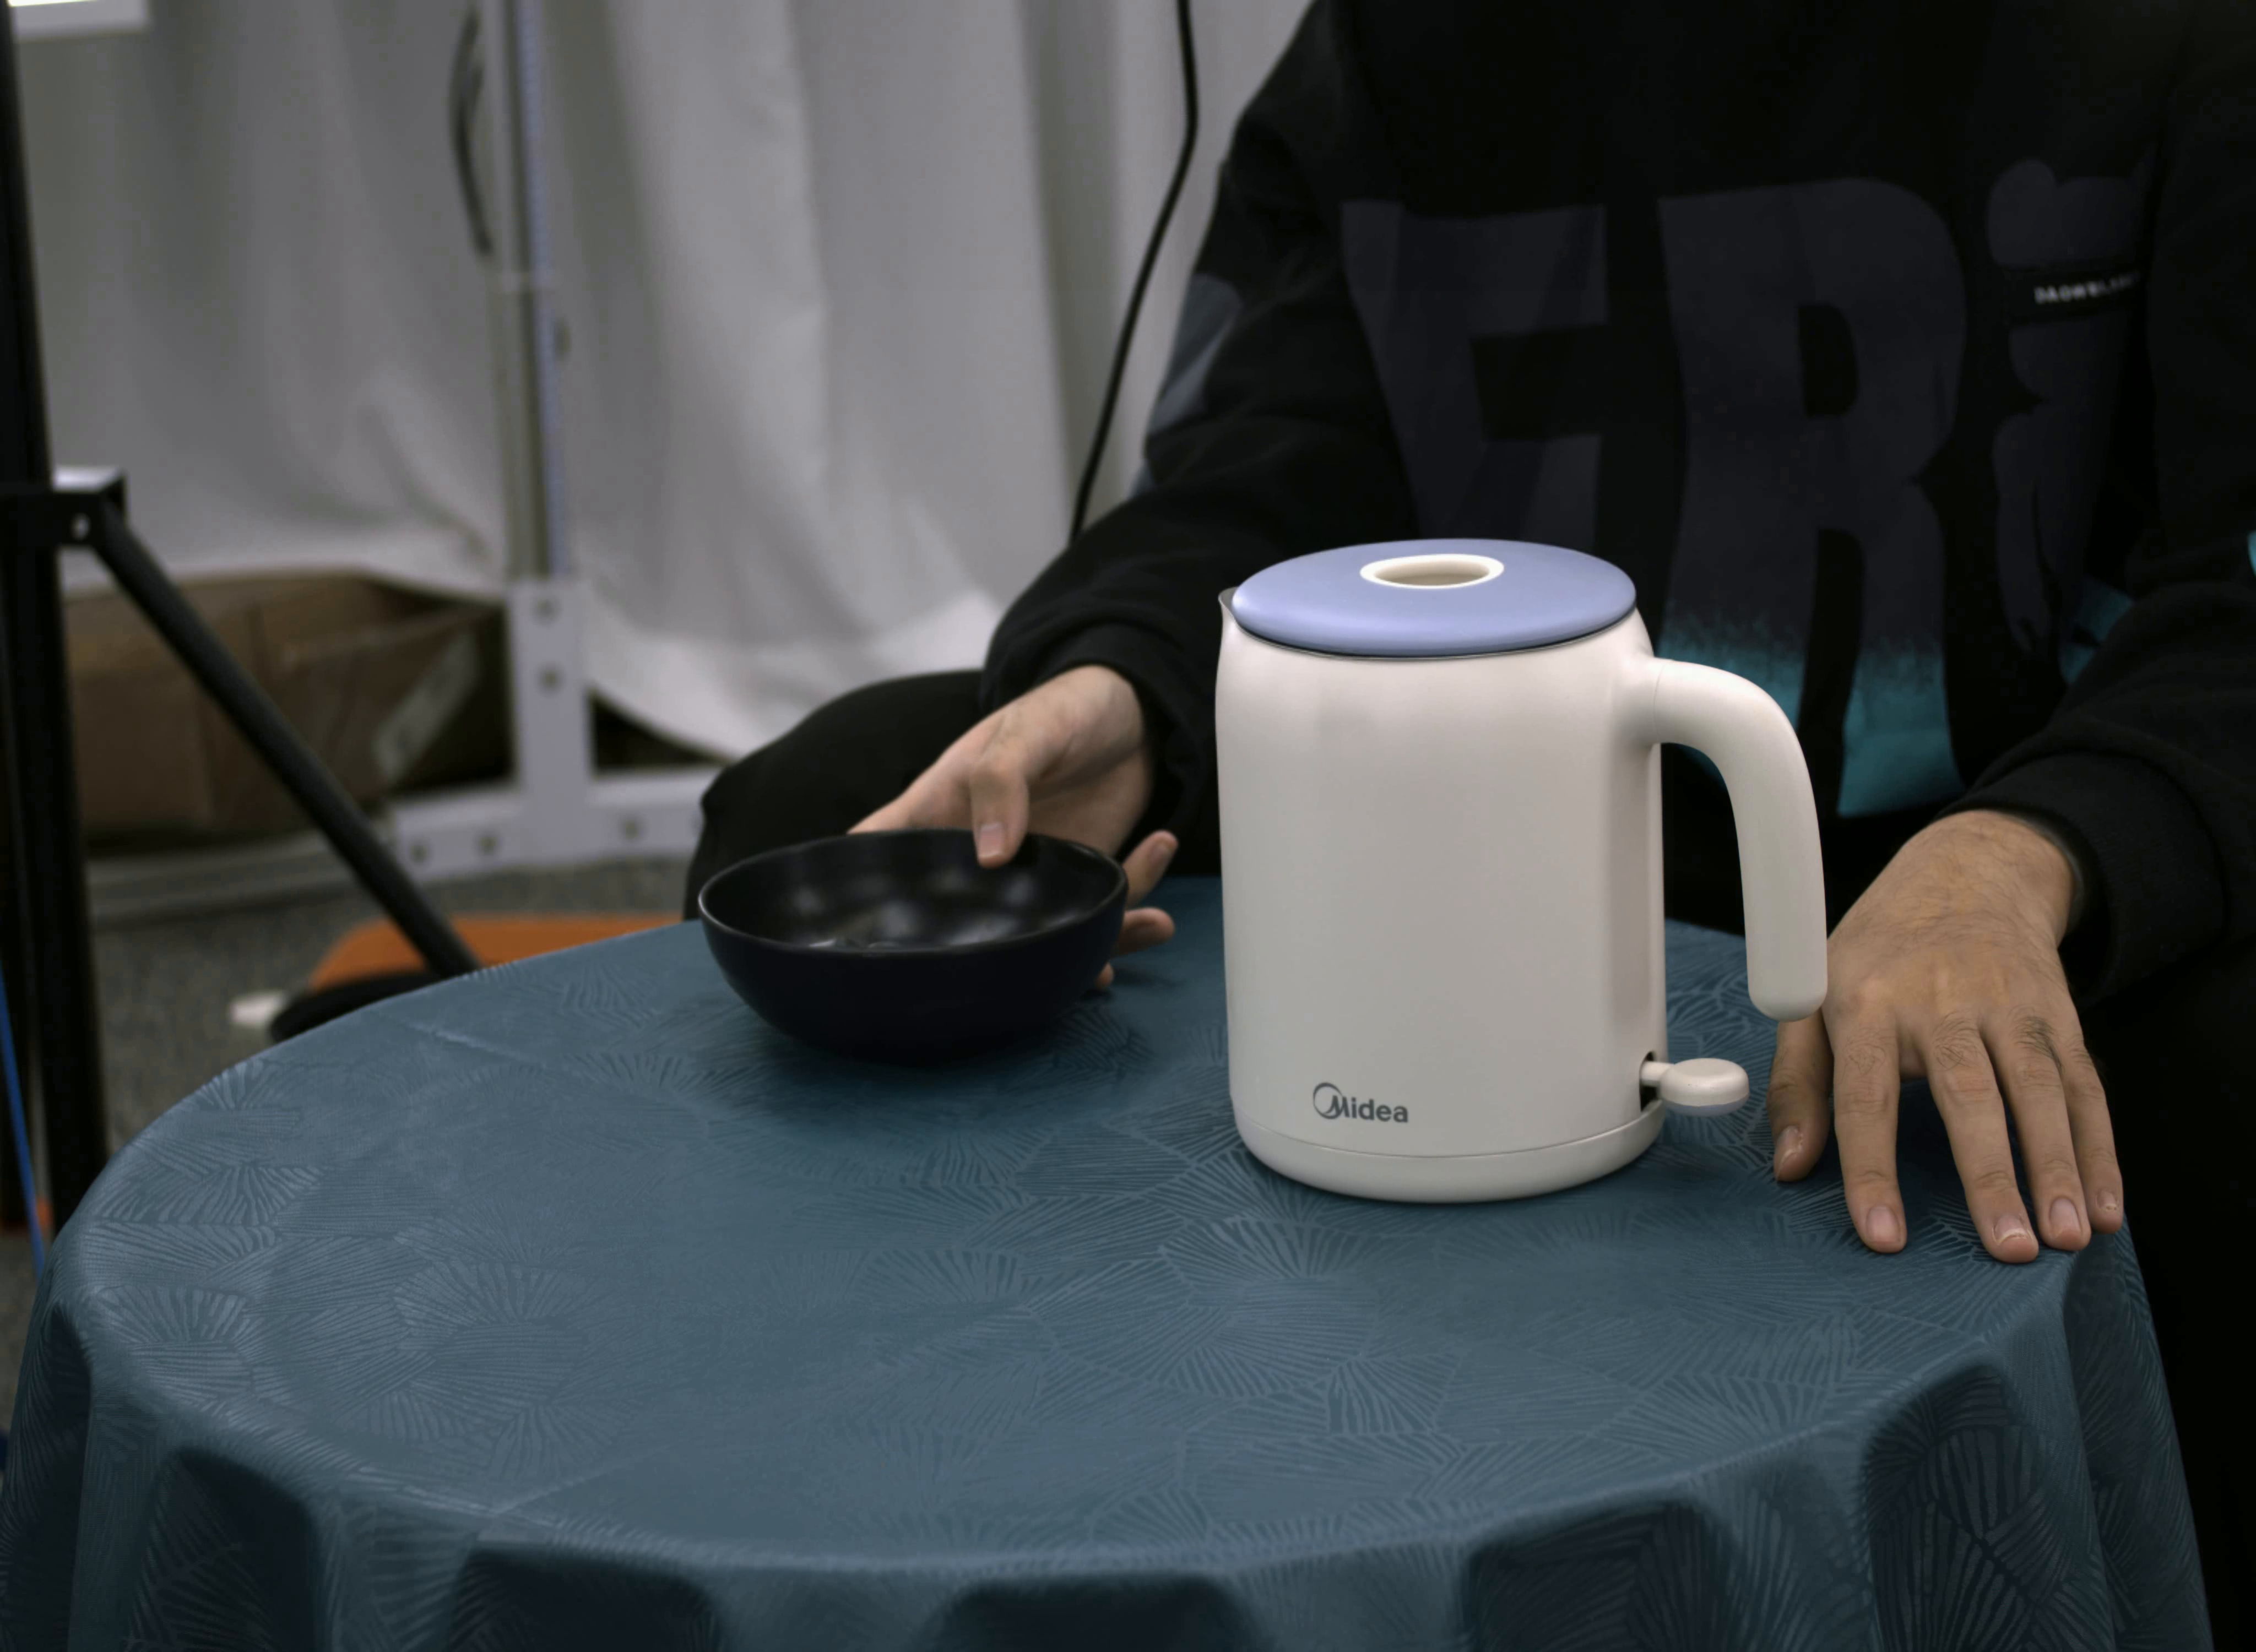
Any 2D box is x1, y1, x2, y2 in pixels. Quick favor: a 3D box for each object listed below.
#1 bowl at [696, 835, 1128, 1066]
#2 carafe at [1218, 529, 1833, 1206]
[{"bbox_3d":[-0.068,0.044,1.708,0.139,0.050,0.141,-1,14,-1],"label":"bowl"},{"bbox_3d":[0.115,0.015,1.556,0.194,0.182,0.130,8,19,26],"label":"carafe"}]
